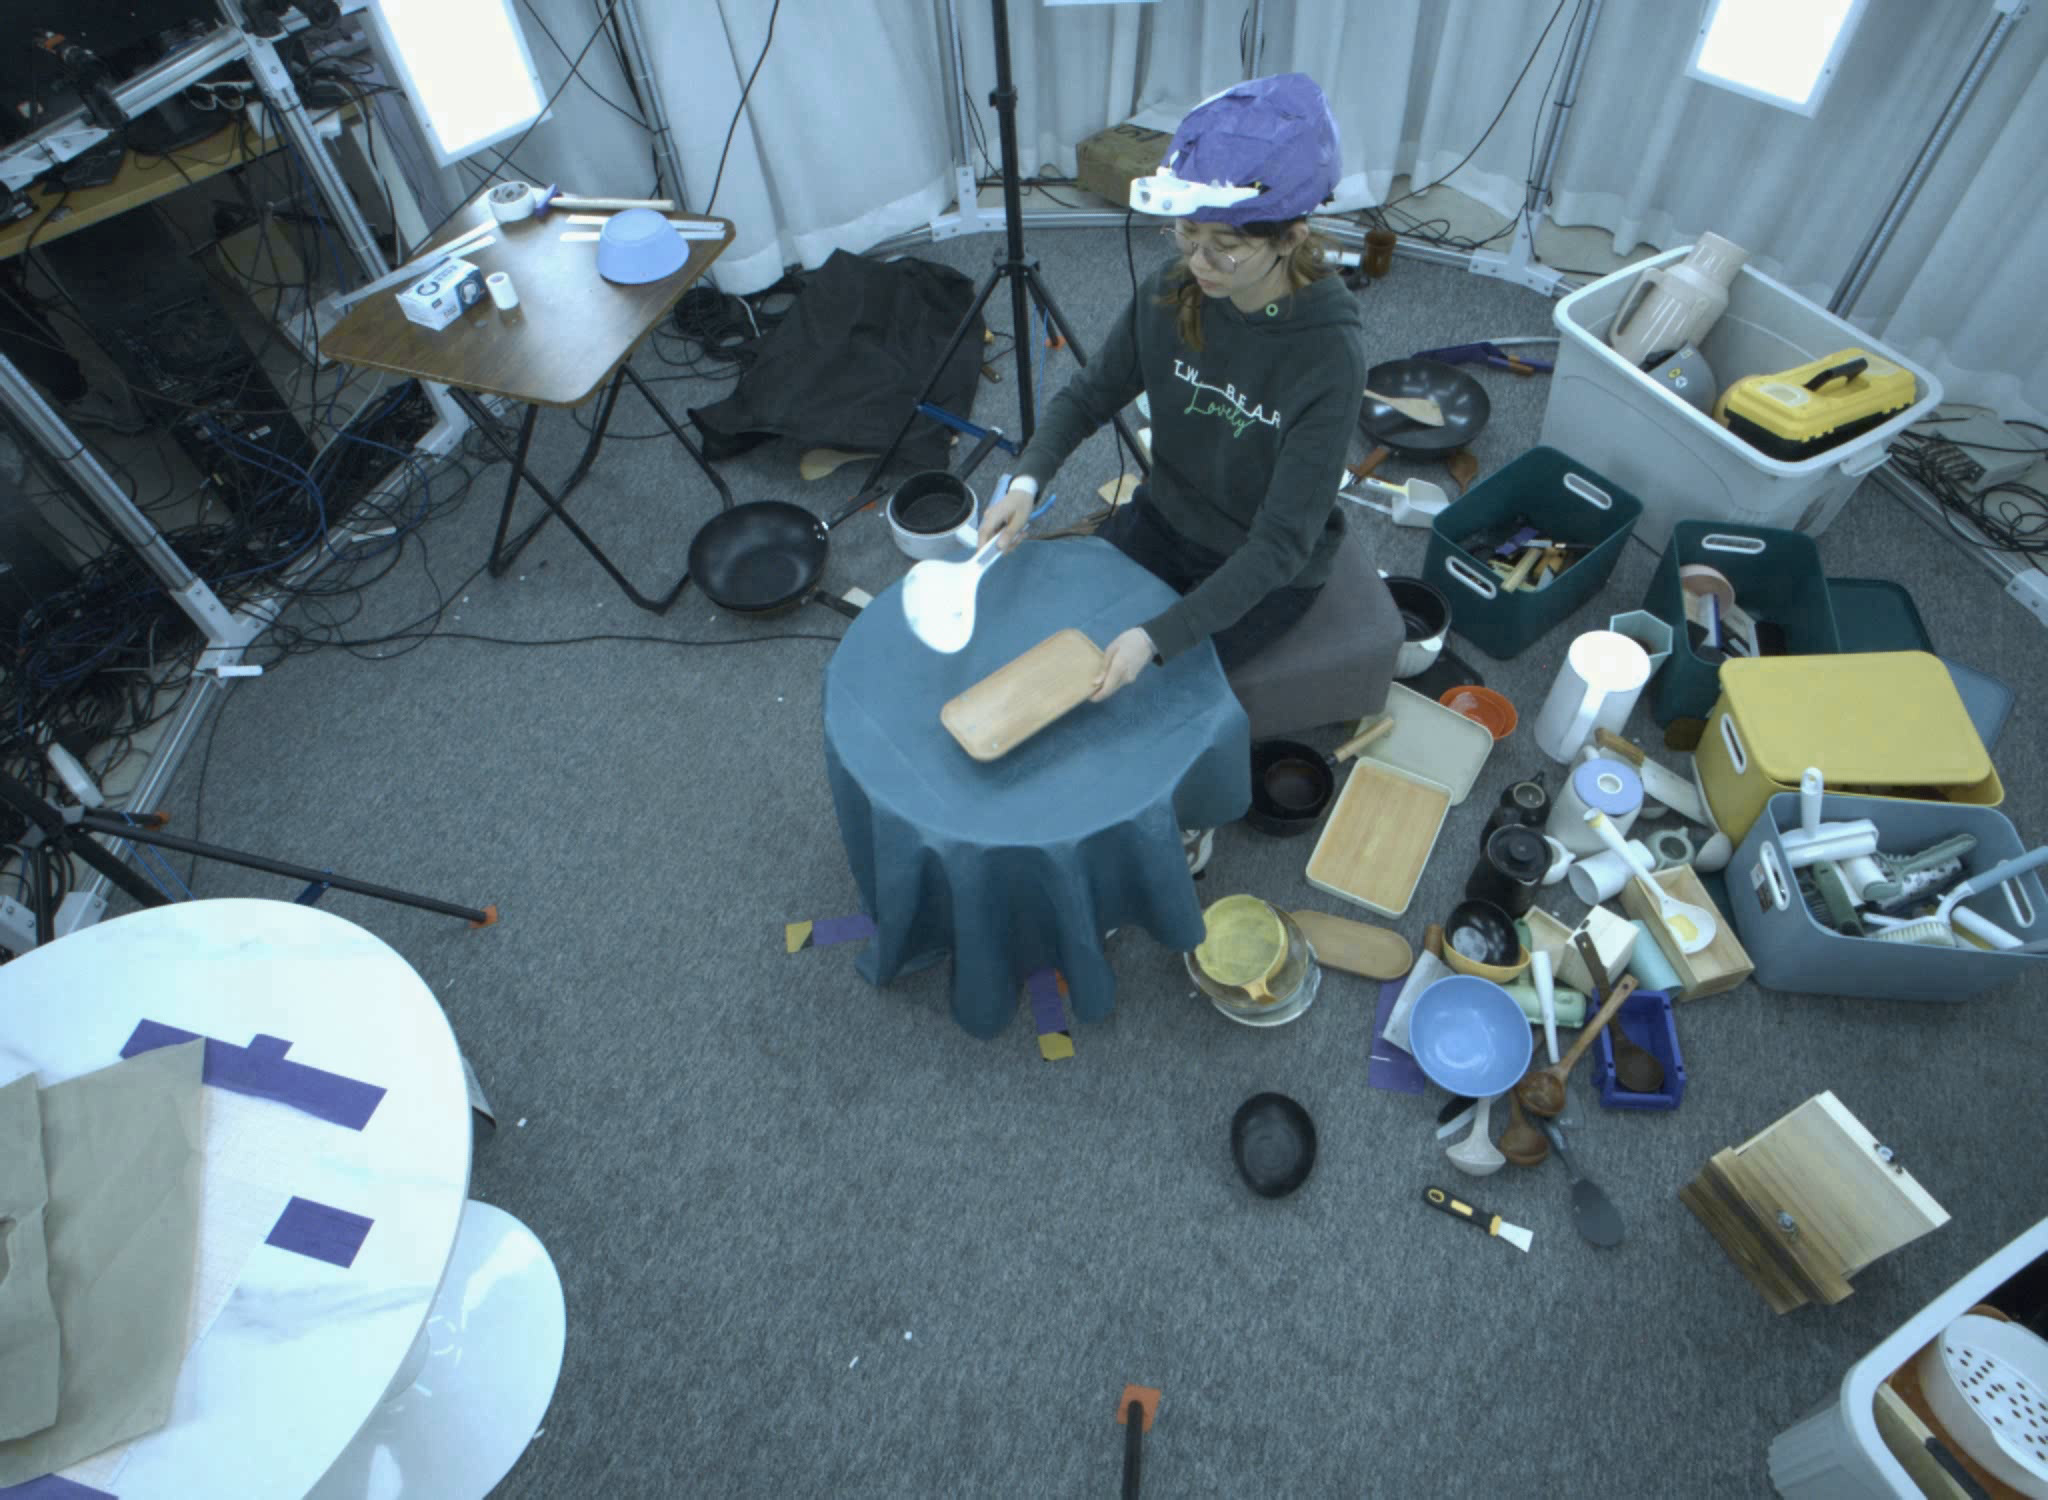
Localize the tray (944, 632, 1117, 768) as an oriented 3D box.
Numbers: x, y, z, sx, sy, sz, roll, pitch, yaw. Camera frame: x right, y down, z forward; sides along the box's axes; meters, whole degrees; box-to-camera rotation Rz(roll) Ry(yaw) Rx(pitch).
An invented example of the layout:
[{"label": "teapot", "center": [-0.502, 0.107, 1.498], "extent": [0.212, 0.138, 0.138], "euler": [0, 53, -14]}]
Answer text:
[{"label": "tray", "center": [0.010, -0.074, 1.784], "extent": [0.252, 0.023, 0.128], "euler": [-34, 59, -14]}]

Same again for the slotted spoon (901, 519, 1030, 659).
[{"label": "slotted spoon", "center": [-0.081, -0.259, 1.837], "extent": [0.045, 0.138, 0.351], "euler": [-11, 29, 44]}]
